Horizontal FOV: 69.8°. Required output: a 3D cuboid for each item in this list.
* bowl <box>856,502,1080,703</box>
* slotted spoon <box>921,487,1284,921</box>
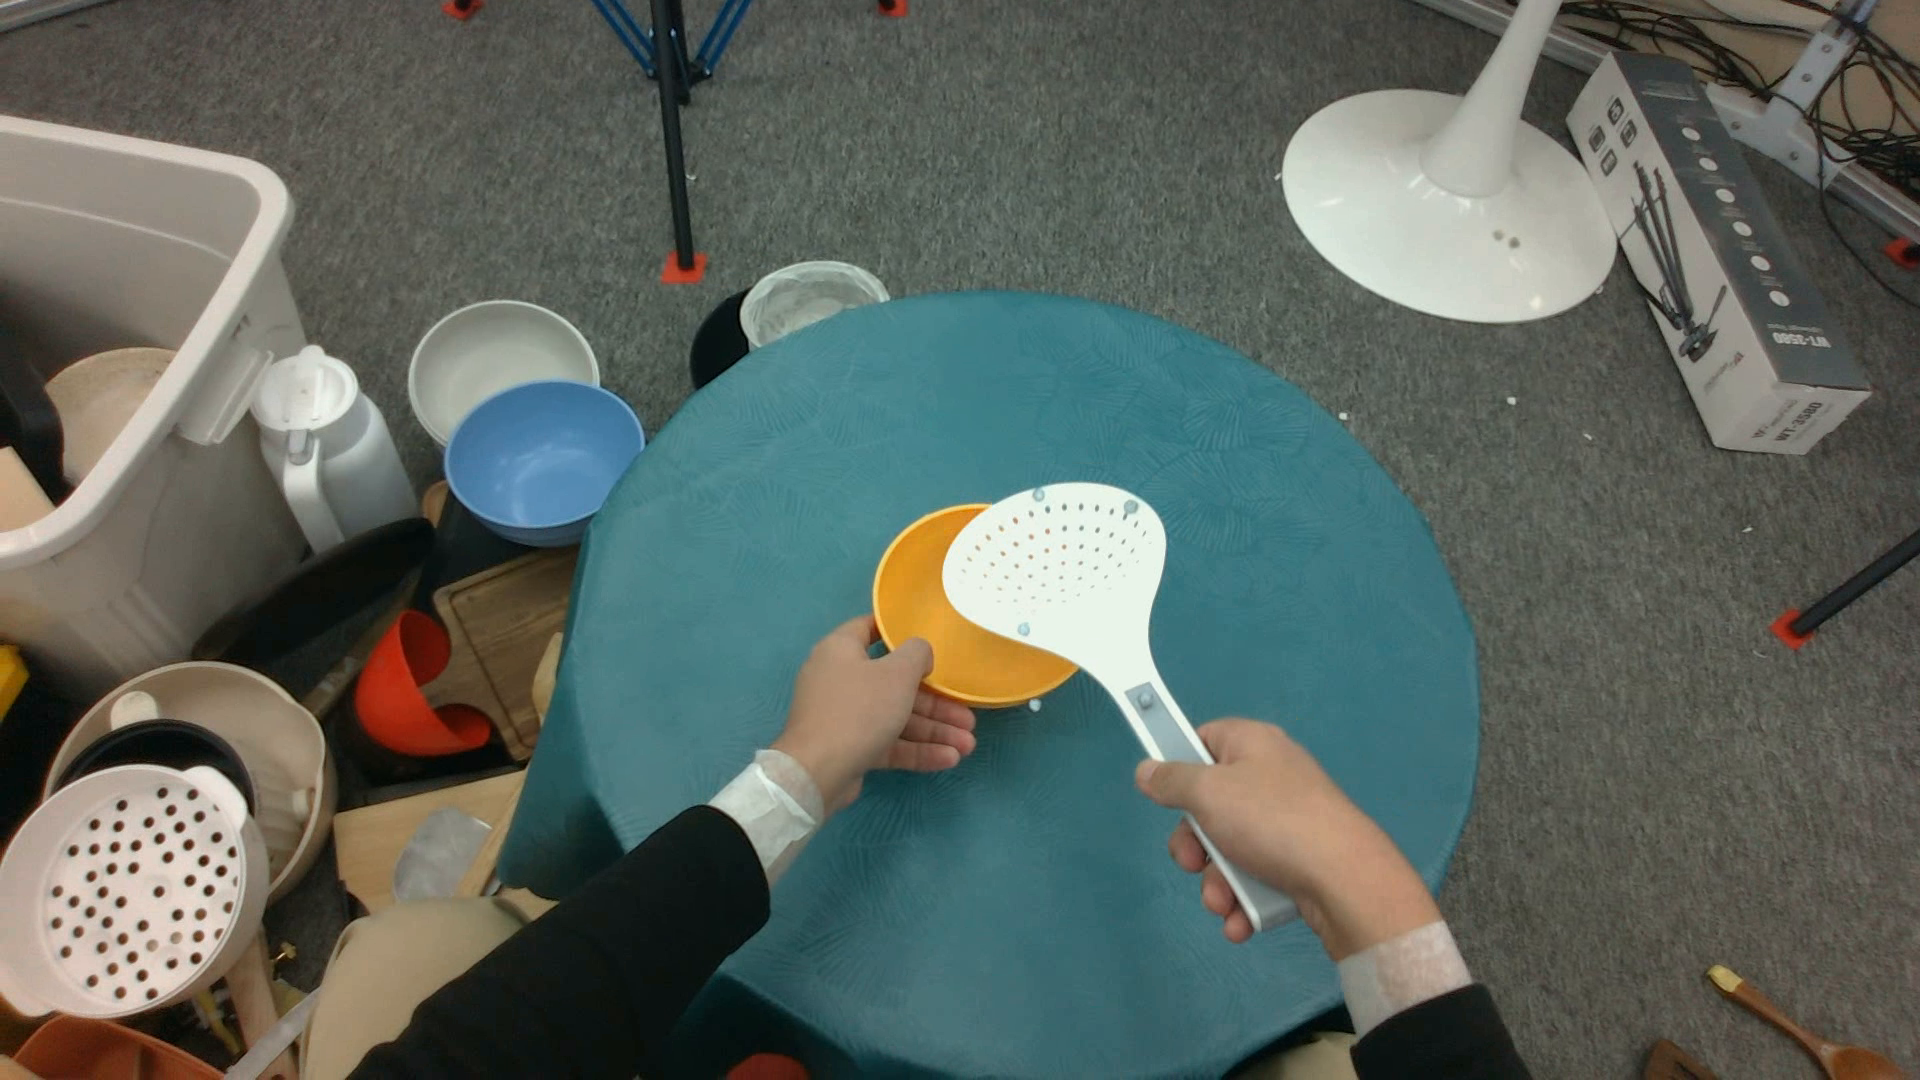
[{"bbox_3d":[0.005,0.049,0.875,0.145,0.060,0.146,3,53,-4],"label":"bowl"},{"bbox_3d":[0.079,0.072,0.750,0.136,0.045,0.350,-22,33,-7],"label":"slotted spoon"}]
